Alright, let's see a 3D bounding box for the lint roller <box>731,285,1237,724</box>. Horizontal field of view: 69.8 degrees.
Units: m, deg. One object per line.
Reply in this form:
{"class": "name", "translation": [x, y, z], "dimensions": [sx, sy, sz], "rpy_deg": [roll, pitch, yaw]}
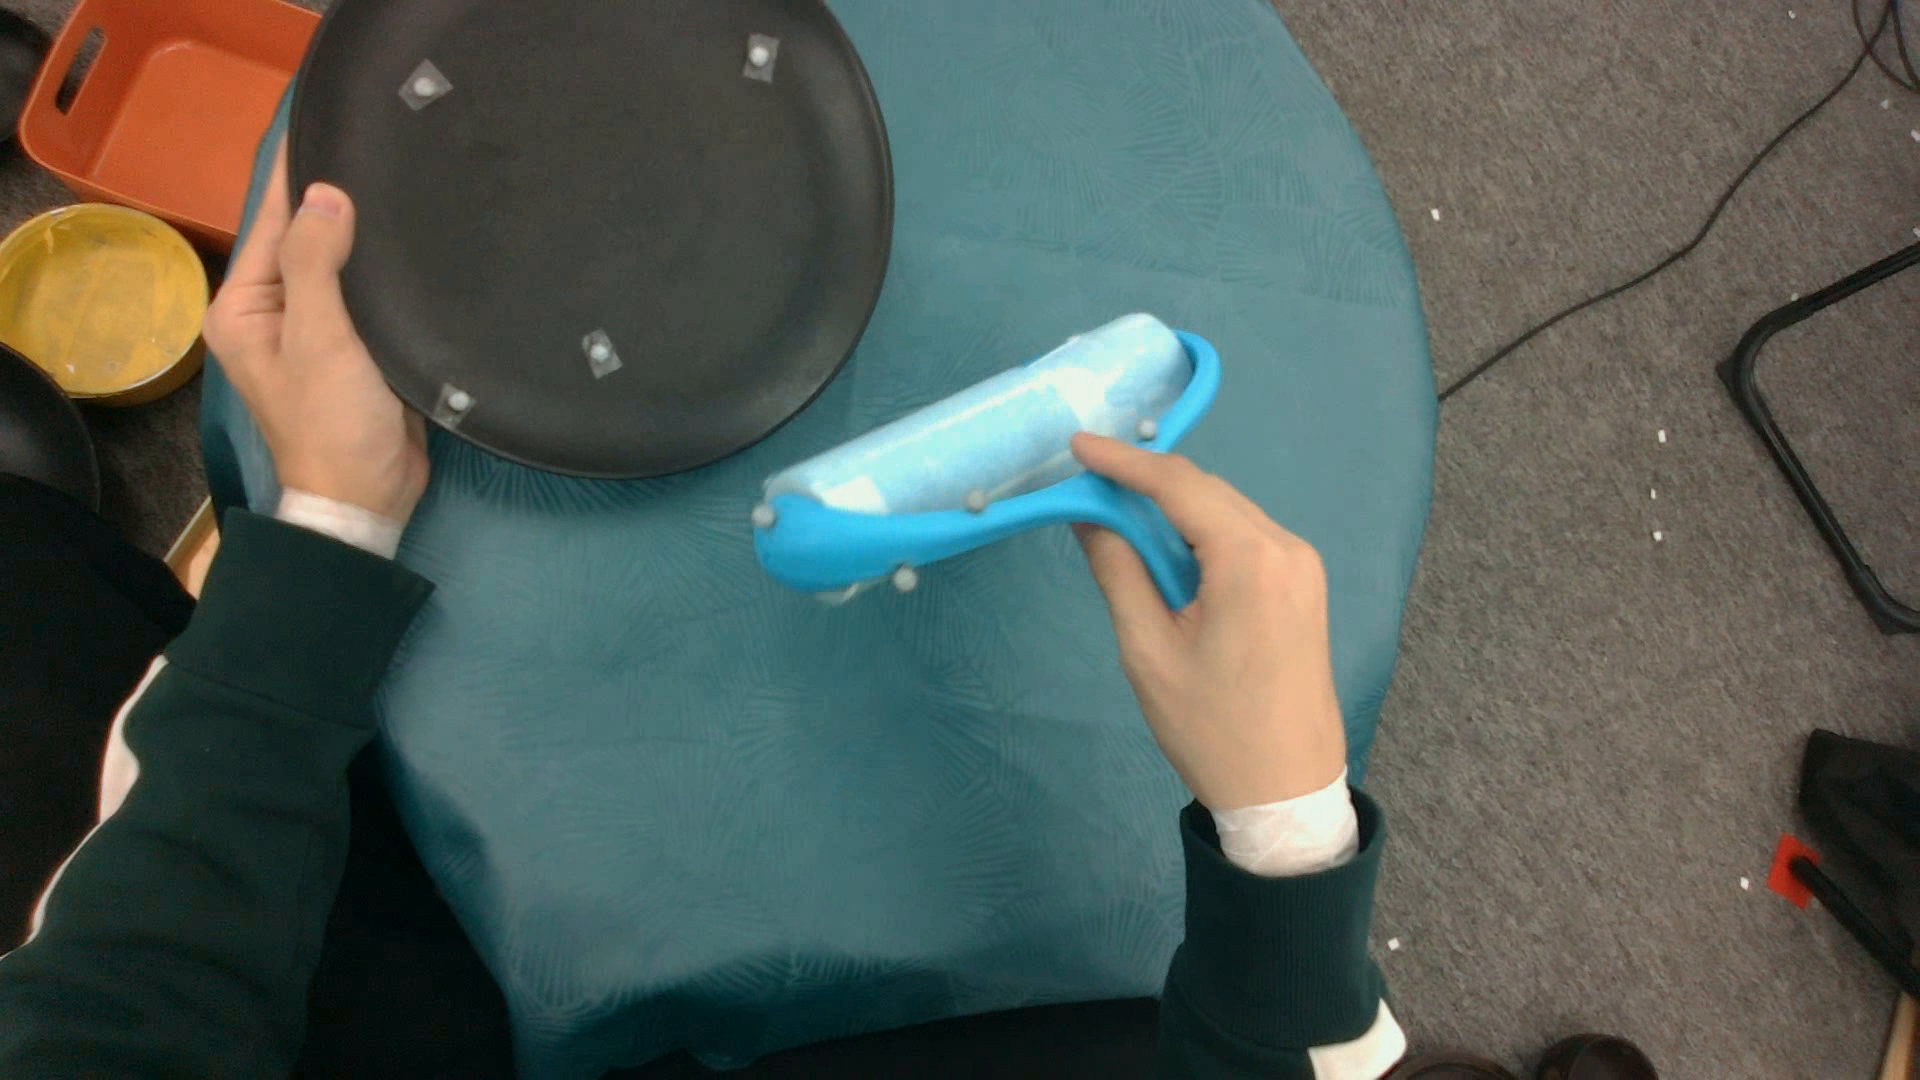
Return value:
{"class": "lint roller", "translation": [0.046, -0.009, 0.534], "dimensions": [0.180, 0.067, 0.230], "rpy_deg": [41, 51, 19]}

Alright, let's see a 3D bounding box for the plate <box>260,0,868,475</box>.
{"class": "plate", "translation": [-0.158, -0.149, 0.579], "dimensions": [0.245, 0.023, 0.244], "rpy_deg": [-3, 98, -22]}
